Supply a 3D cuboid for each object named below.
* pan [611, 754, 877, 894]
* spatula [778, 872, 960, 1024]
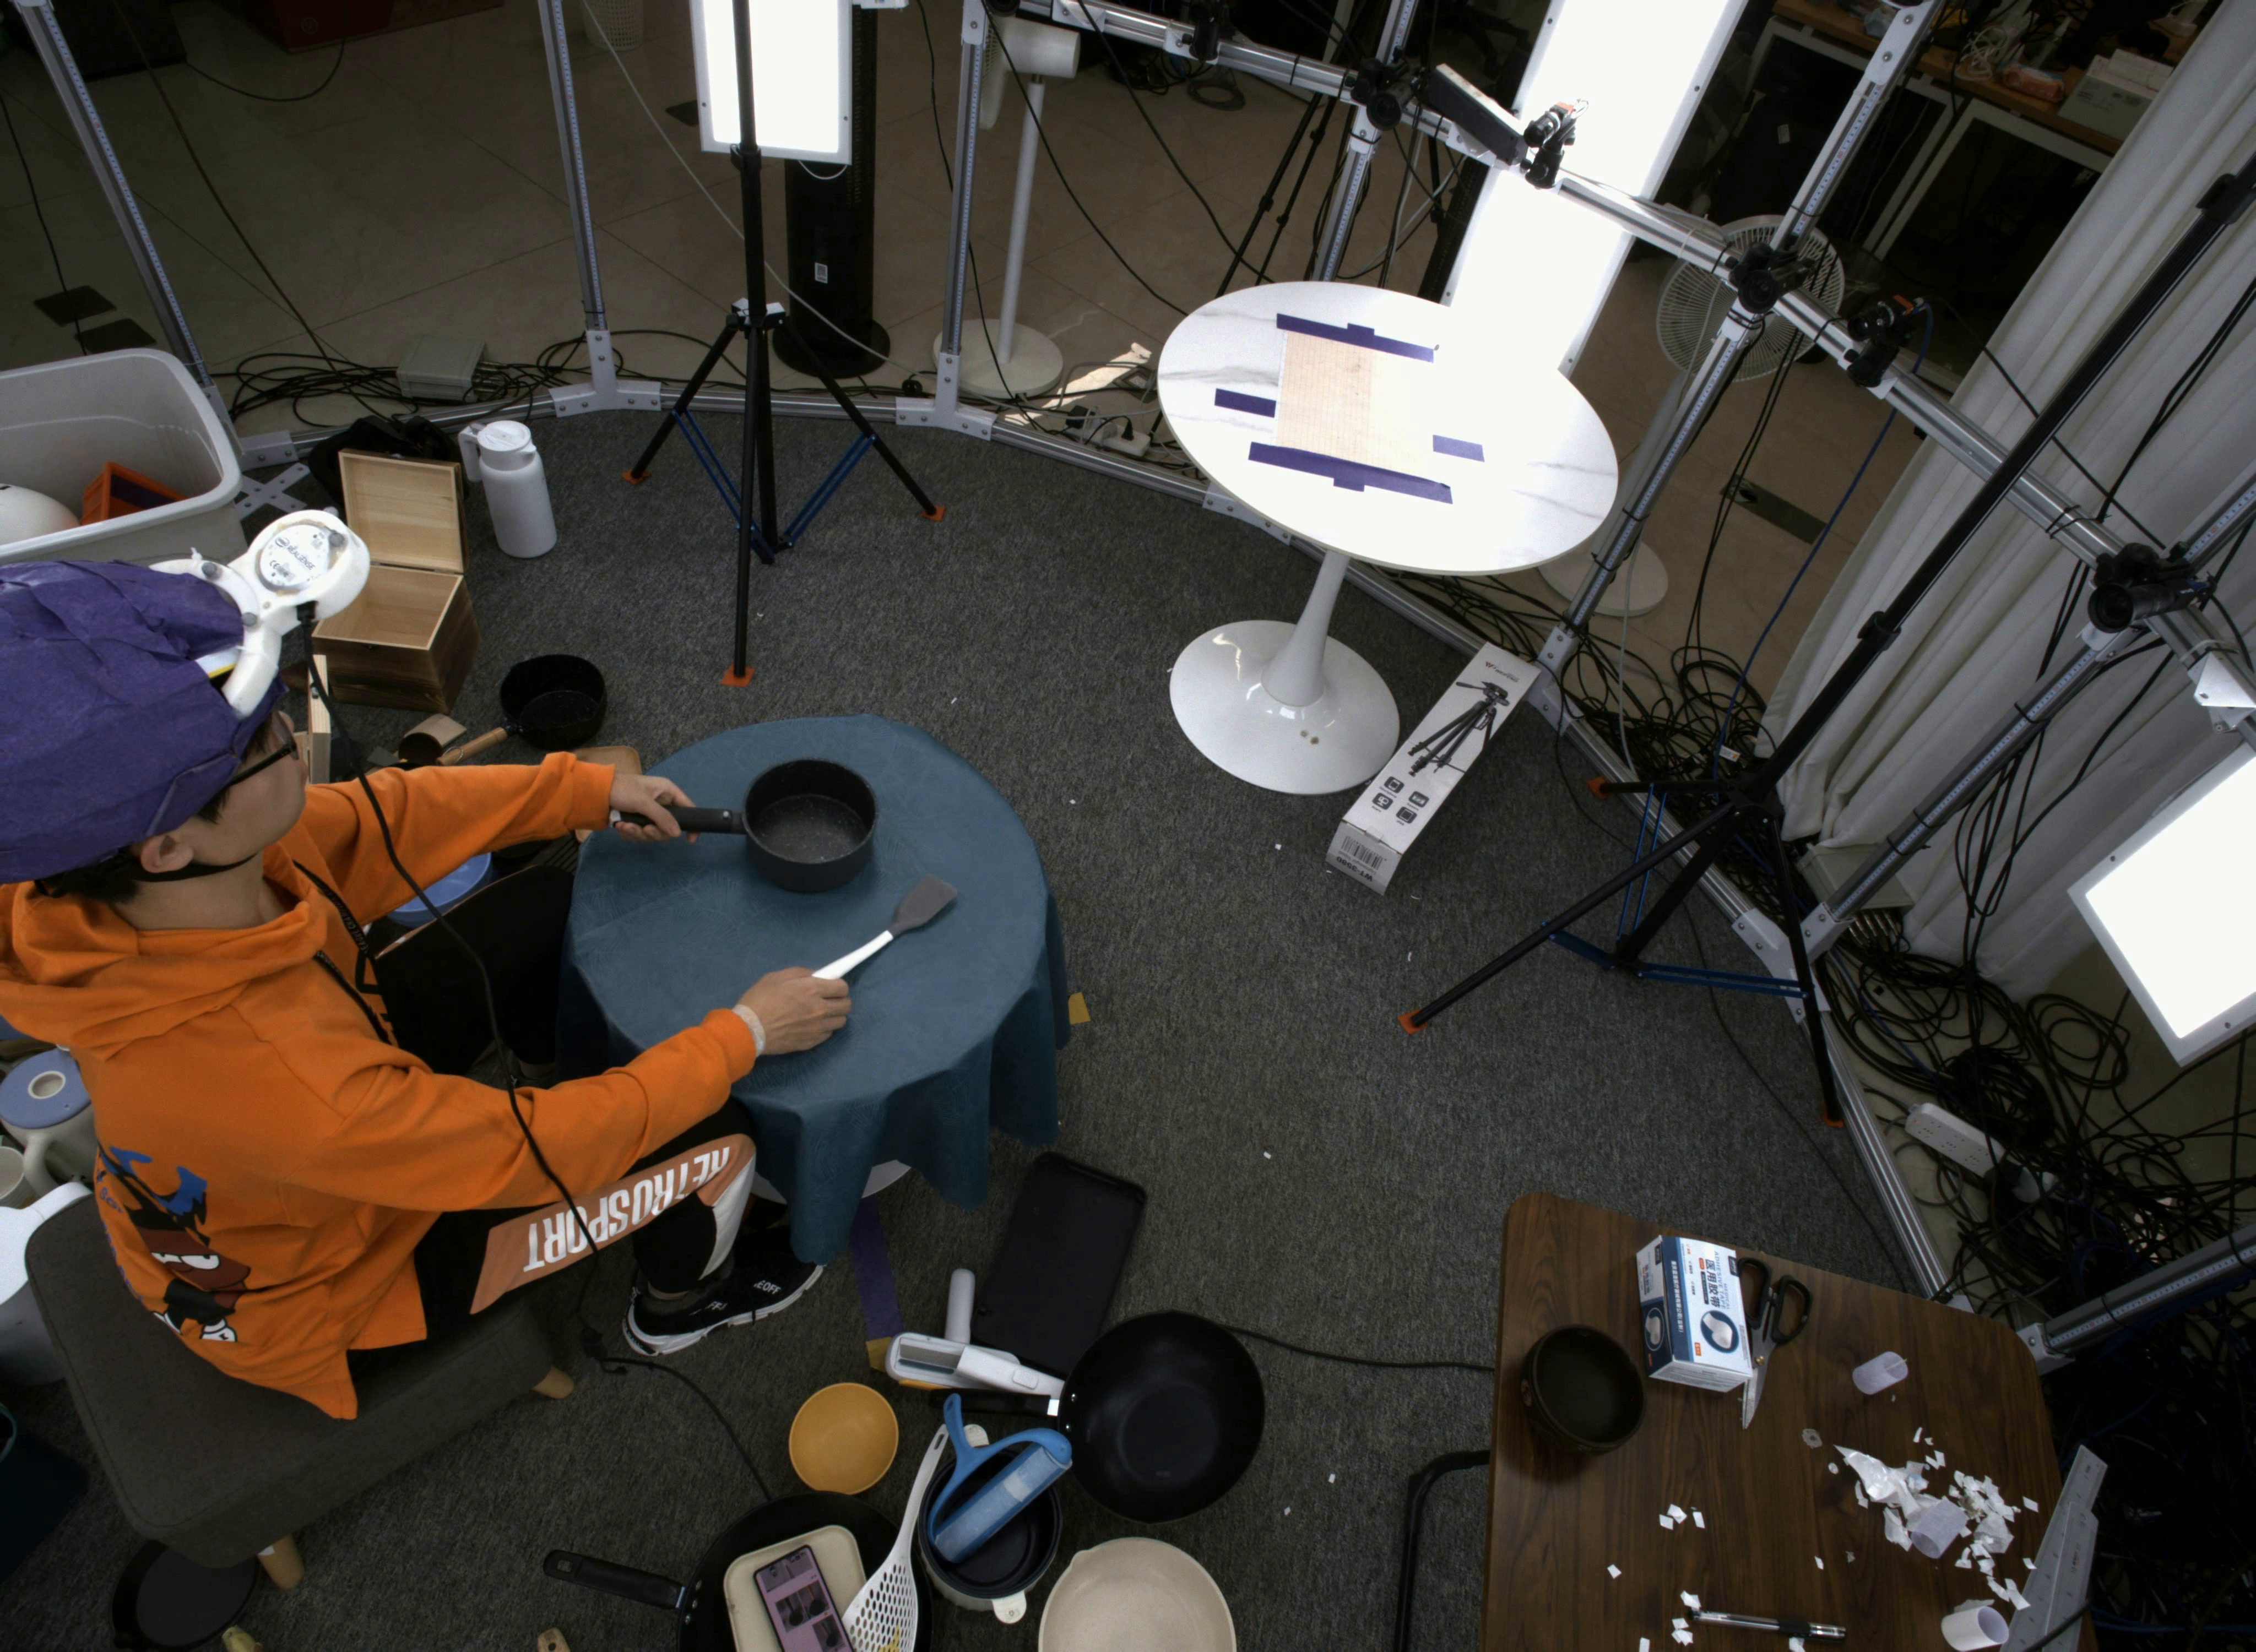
[{"bbox_3d":[-0.486,-0.003,1.638,0.330,0.088,0.168,1,53,-19],"label":"pan"},{"bbox_3d":[-0.318,0.145,1.606,0.057,0.033,0.288,27,44,23],"label":"spatula"}]
